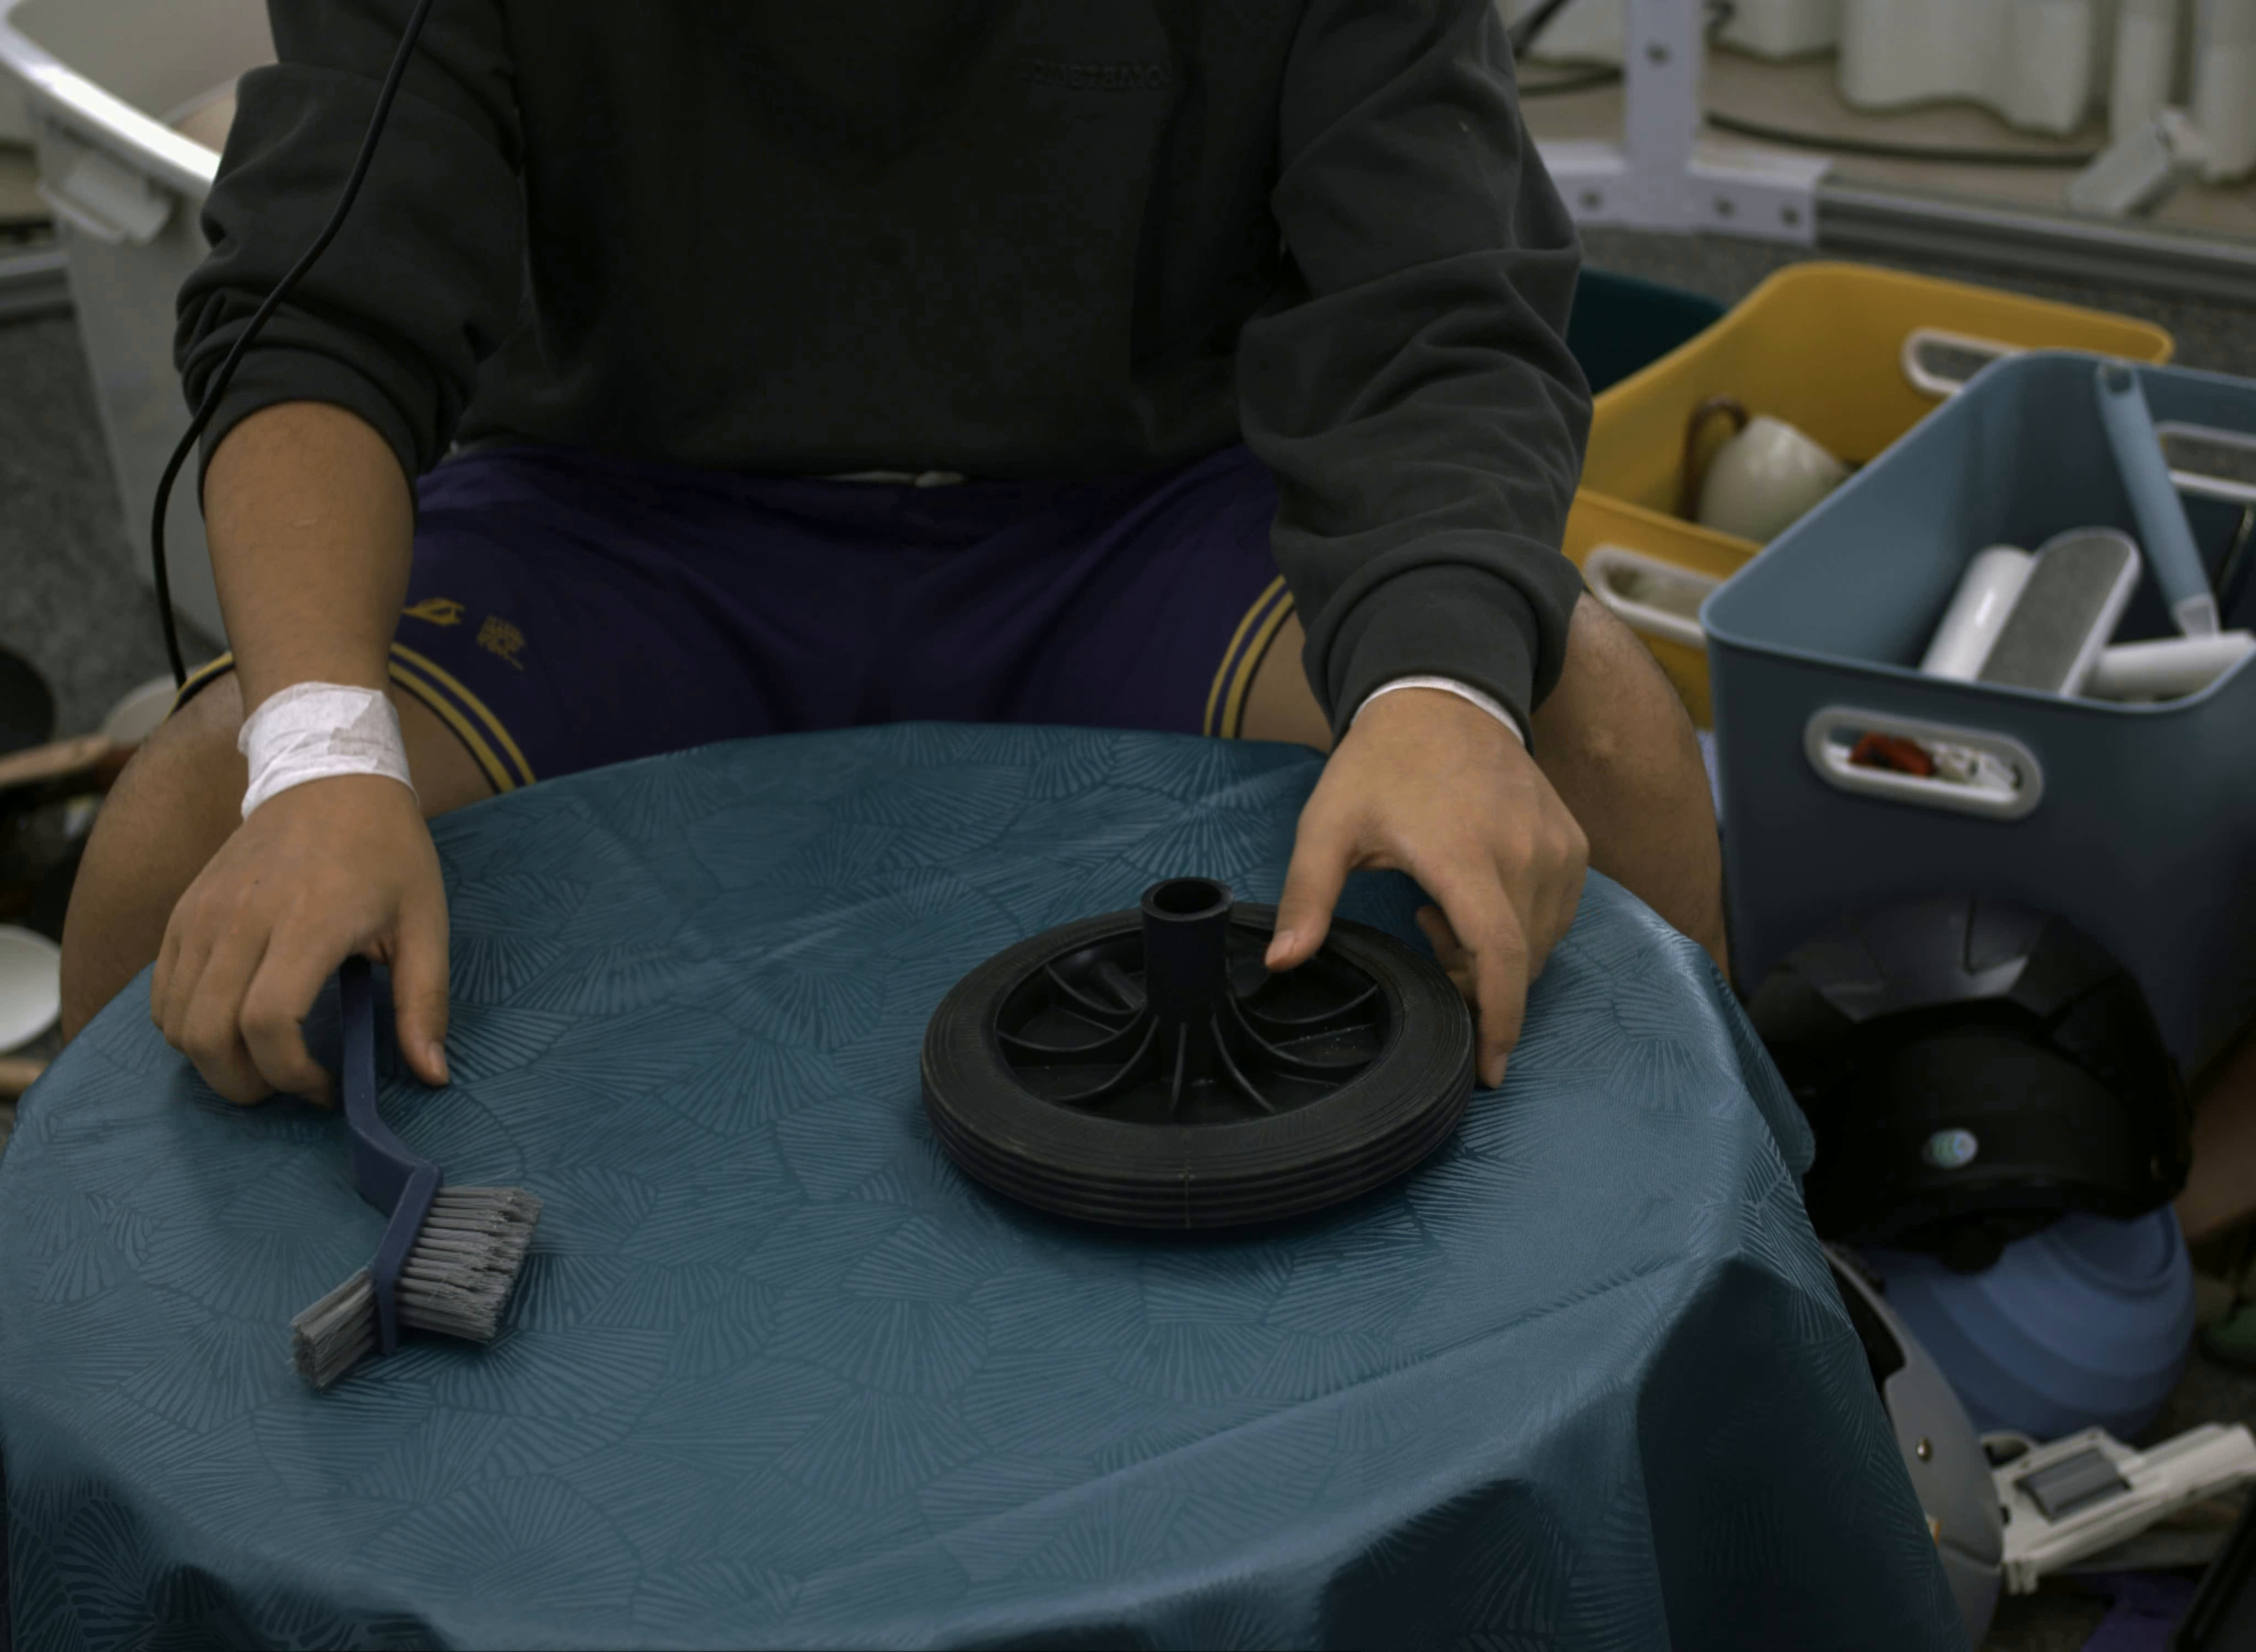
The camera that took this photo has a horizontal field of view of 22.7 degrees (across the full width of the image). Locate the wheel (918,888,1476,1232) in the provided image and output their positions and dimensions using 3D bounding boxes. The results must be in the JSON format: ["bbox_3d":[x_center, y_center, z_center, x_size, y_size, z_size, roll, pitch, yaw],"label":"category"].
[{"bbox_3d":[0.022,0.062,1.892,0.189,0.078,0.190,16,34,34],"label":"wheel"}]

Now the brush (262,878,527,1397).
[{"bbox_3d":[-0.264,0.100,1.895,0.096,0.033,0.276,-10,30,-13],"label":"brush"}]
